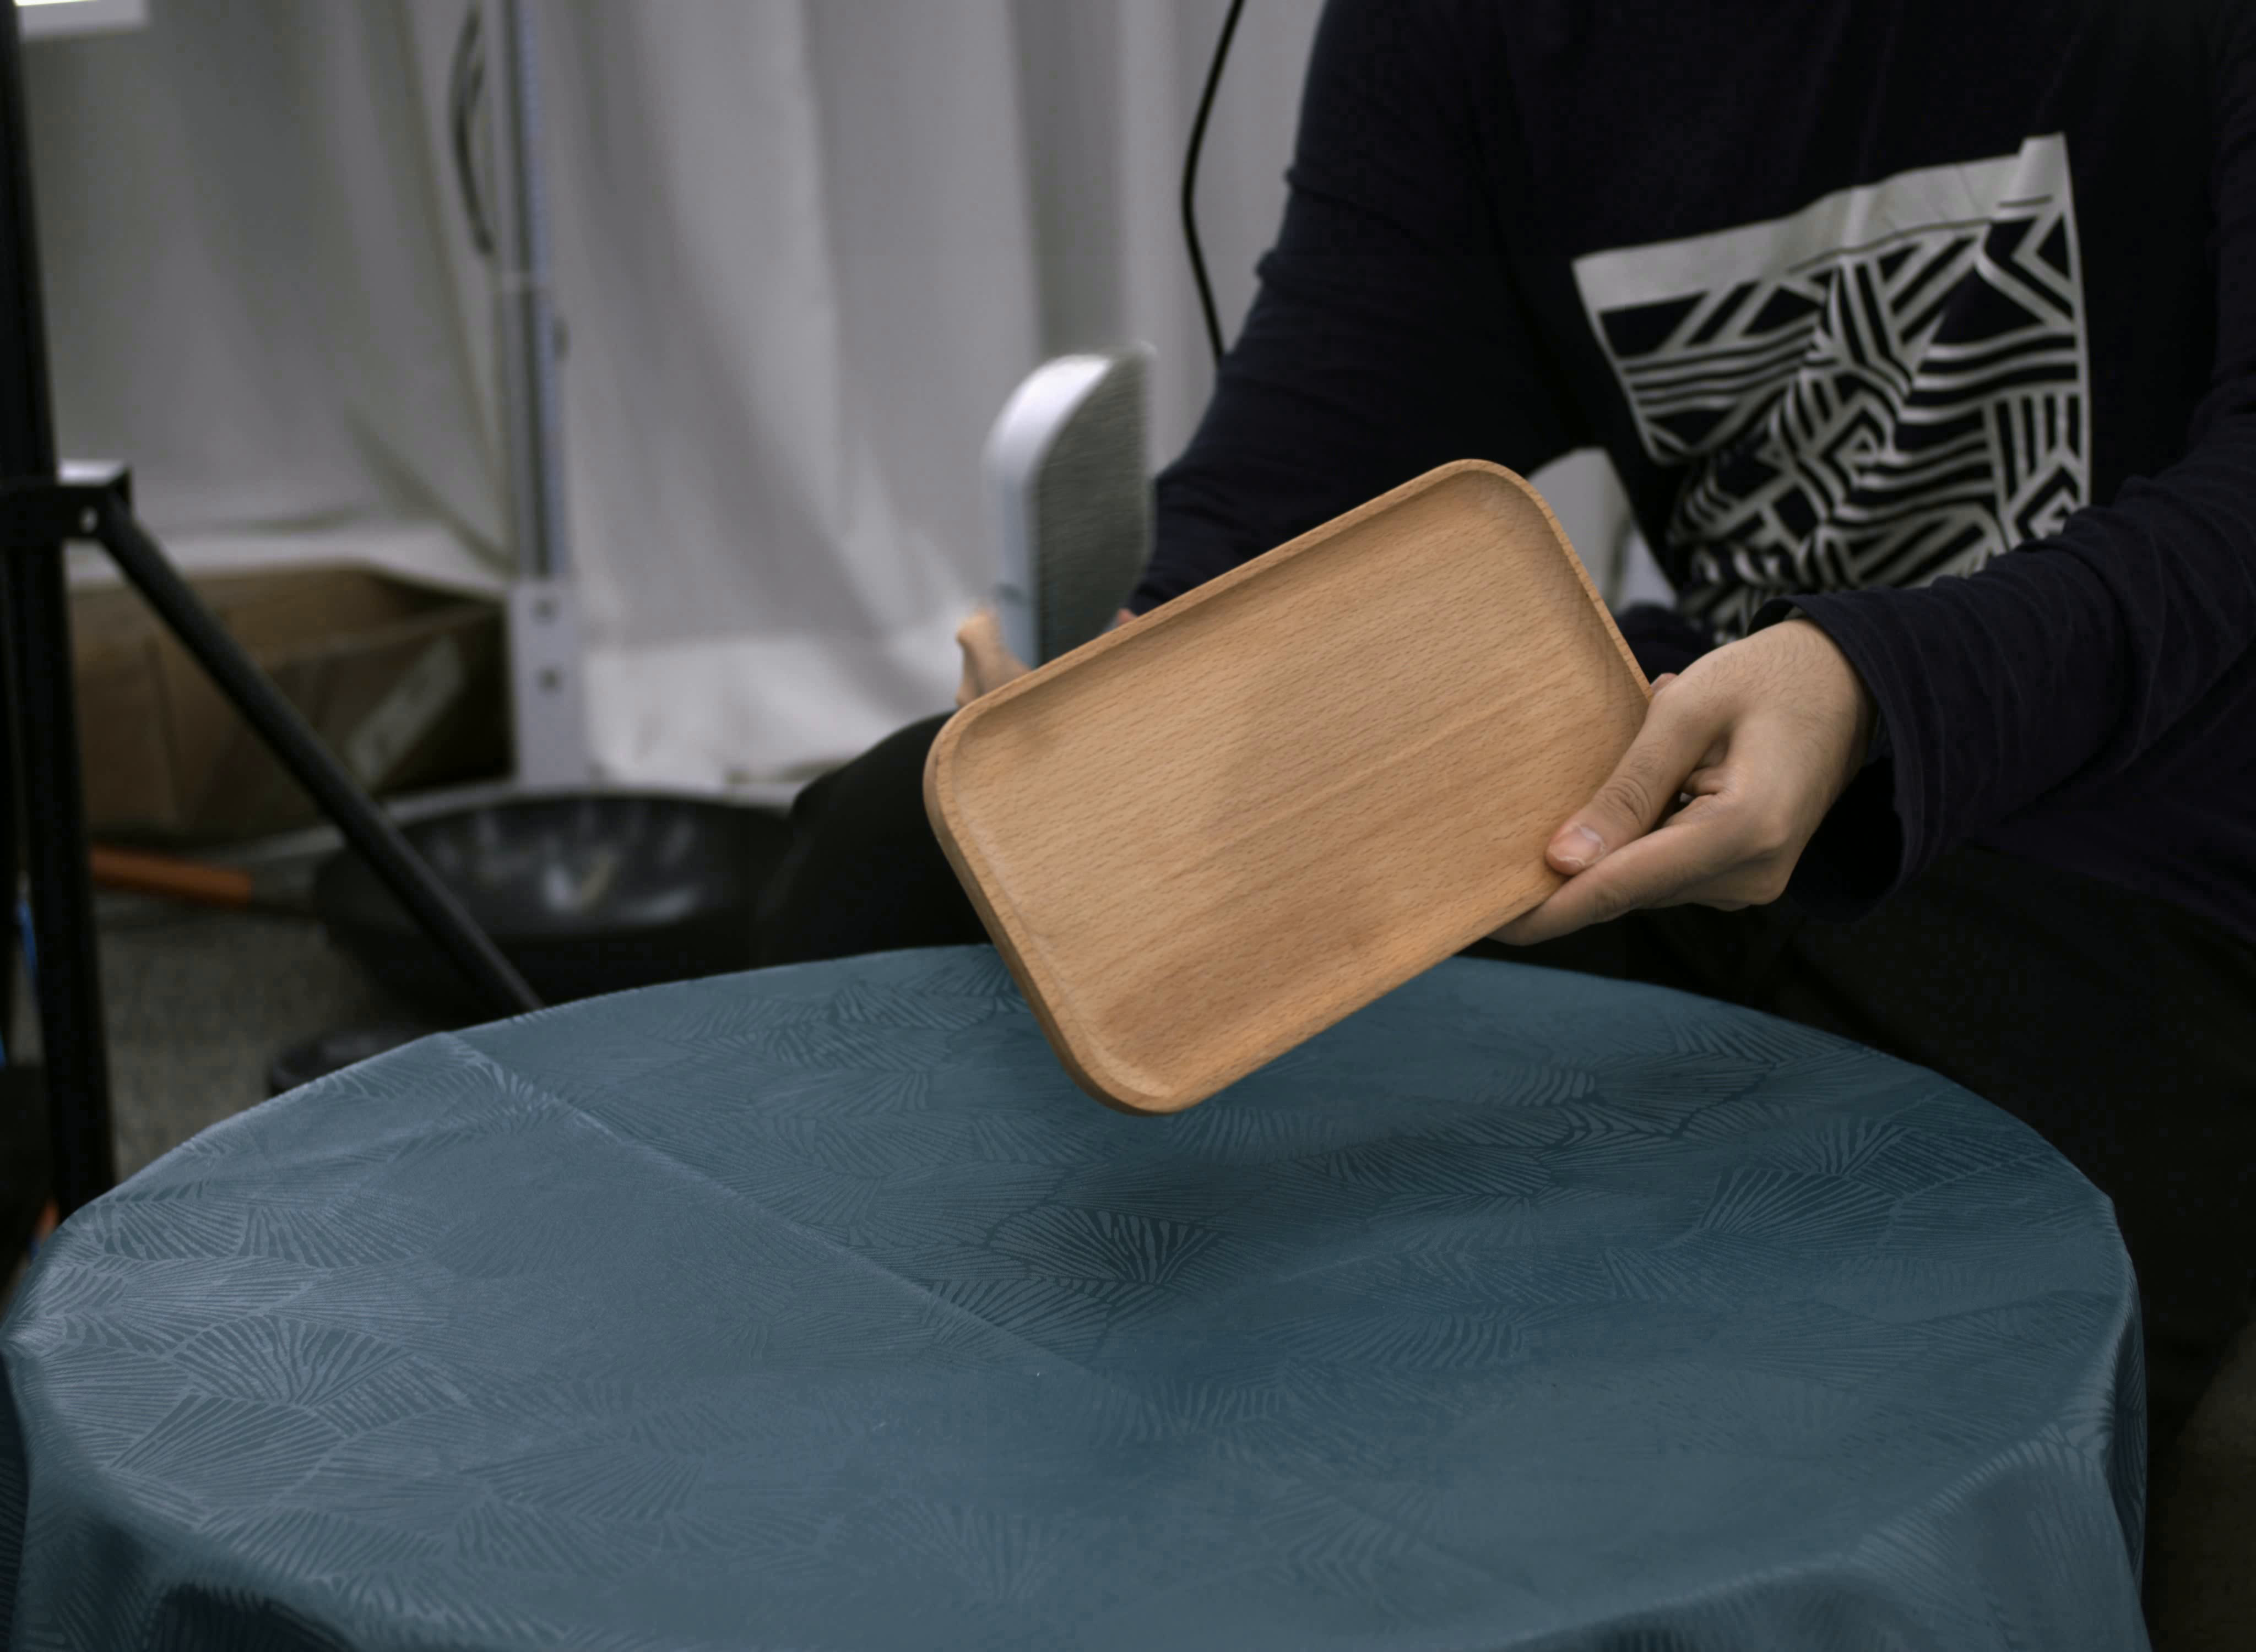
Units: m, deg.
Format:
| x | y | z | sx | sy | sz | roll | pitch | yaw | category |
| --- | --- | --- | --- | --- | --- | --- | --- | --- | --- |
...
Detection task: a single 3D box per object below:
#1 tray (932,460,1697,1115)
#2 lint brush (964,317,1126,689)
| x | y | z | sx | sy | sz | roll | pitch | yaw | category |
| --- | --- | --- | --- | --- | --- | --- | --- | --- | --- |
| 0.056 | -0.013 | 1.513 | 0.246 | 0.131 | 0.023 | -25 | -2 | -36 | tray |
| -0.021 | -0.074 | 1.622 | 0.021 | 0.060 | 0.307 | 35 | -16 | 13 | lint brush |
